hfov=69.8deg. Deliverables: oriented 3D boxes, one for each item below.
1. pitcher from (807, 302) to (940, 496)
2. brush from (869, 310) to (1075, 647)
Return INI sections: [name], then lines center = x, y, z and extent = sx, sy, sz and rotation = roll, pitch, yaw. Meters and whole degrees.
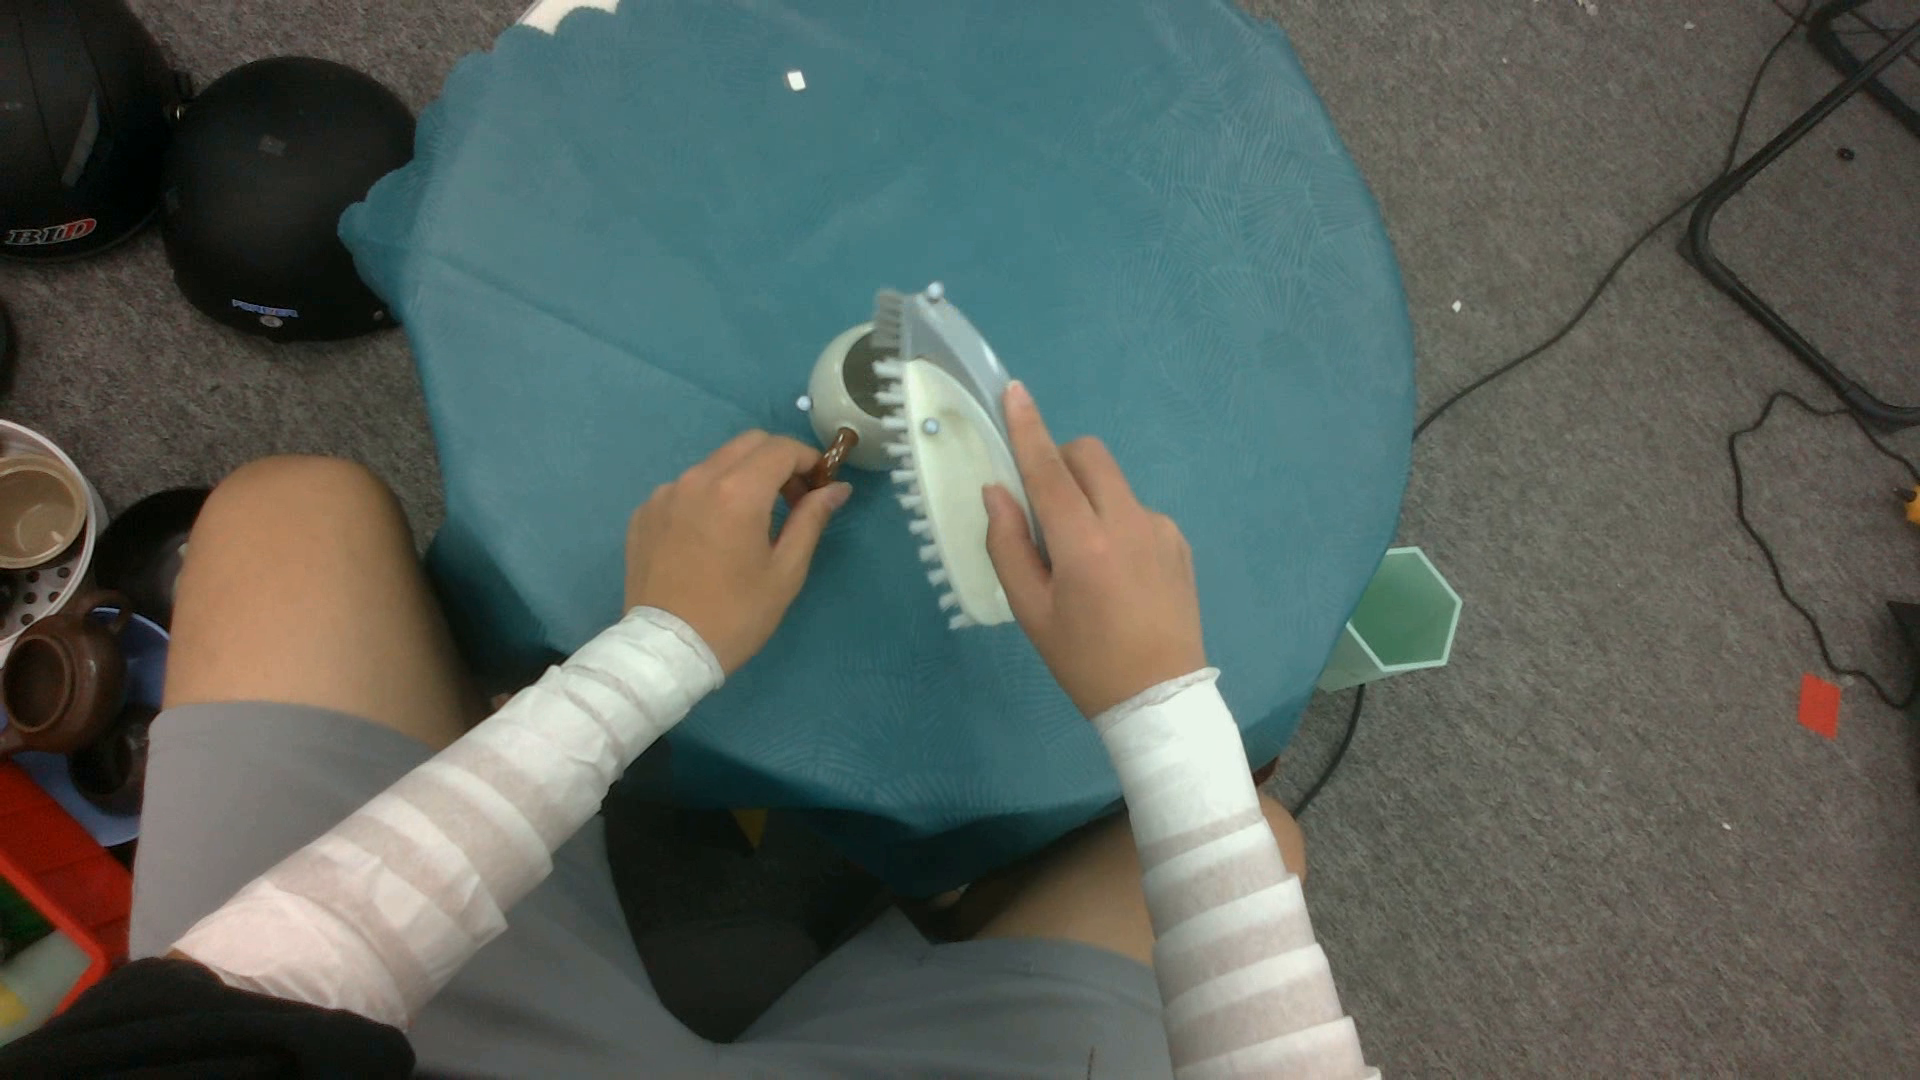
[pitcher]
center = -0.050, -0.065, 0.748
extent = 0.076, 0.087, 0.119
rotation = 33, 67, 2
[brush]
center = 0.007, -0.035, 0.673
extent = 0.062, 0.094, 0.175
rotation = -22, 95, -30
